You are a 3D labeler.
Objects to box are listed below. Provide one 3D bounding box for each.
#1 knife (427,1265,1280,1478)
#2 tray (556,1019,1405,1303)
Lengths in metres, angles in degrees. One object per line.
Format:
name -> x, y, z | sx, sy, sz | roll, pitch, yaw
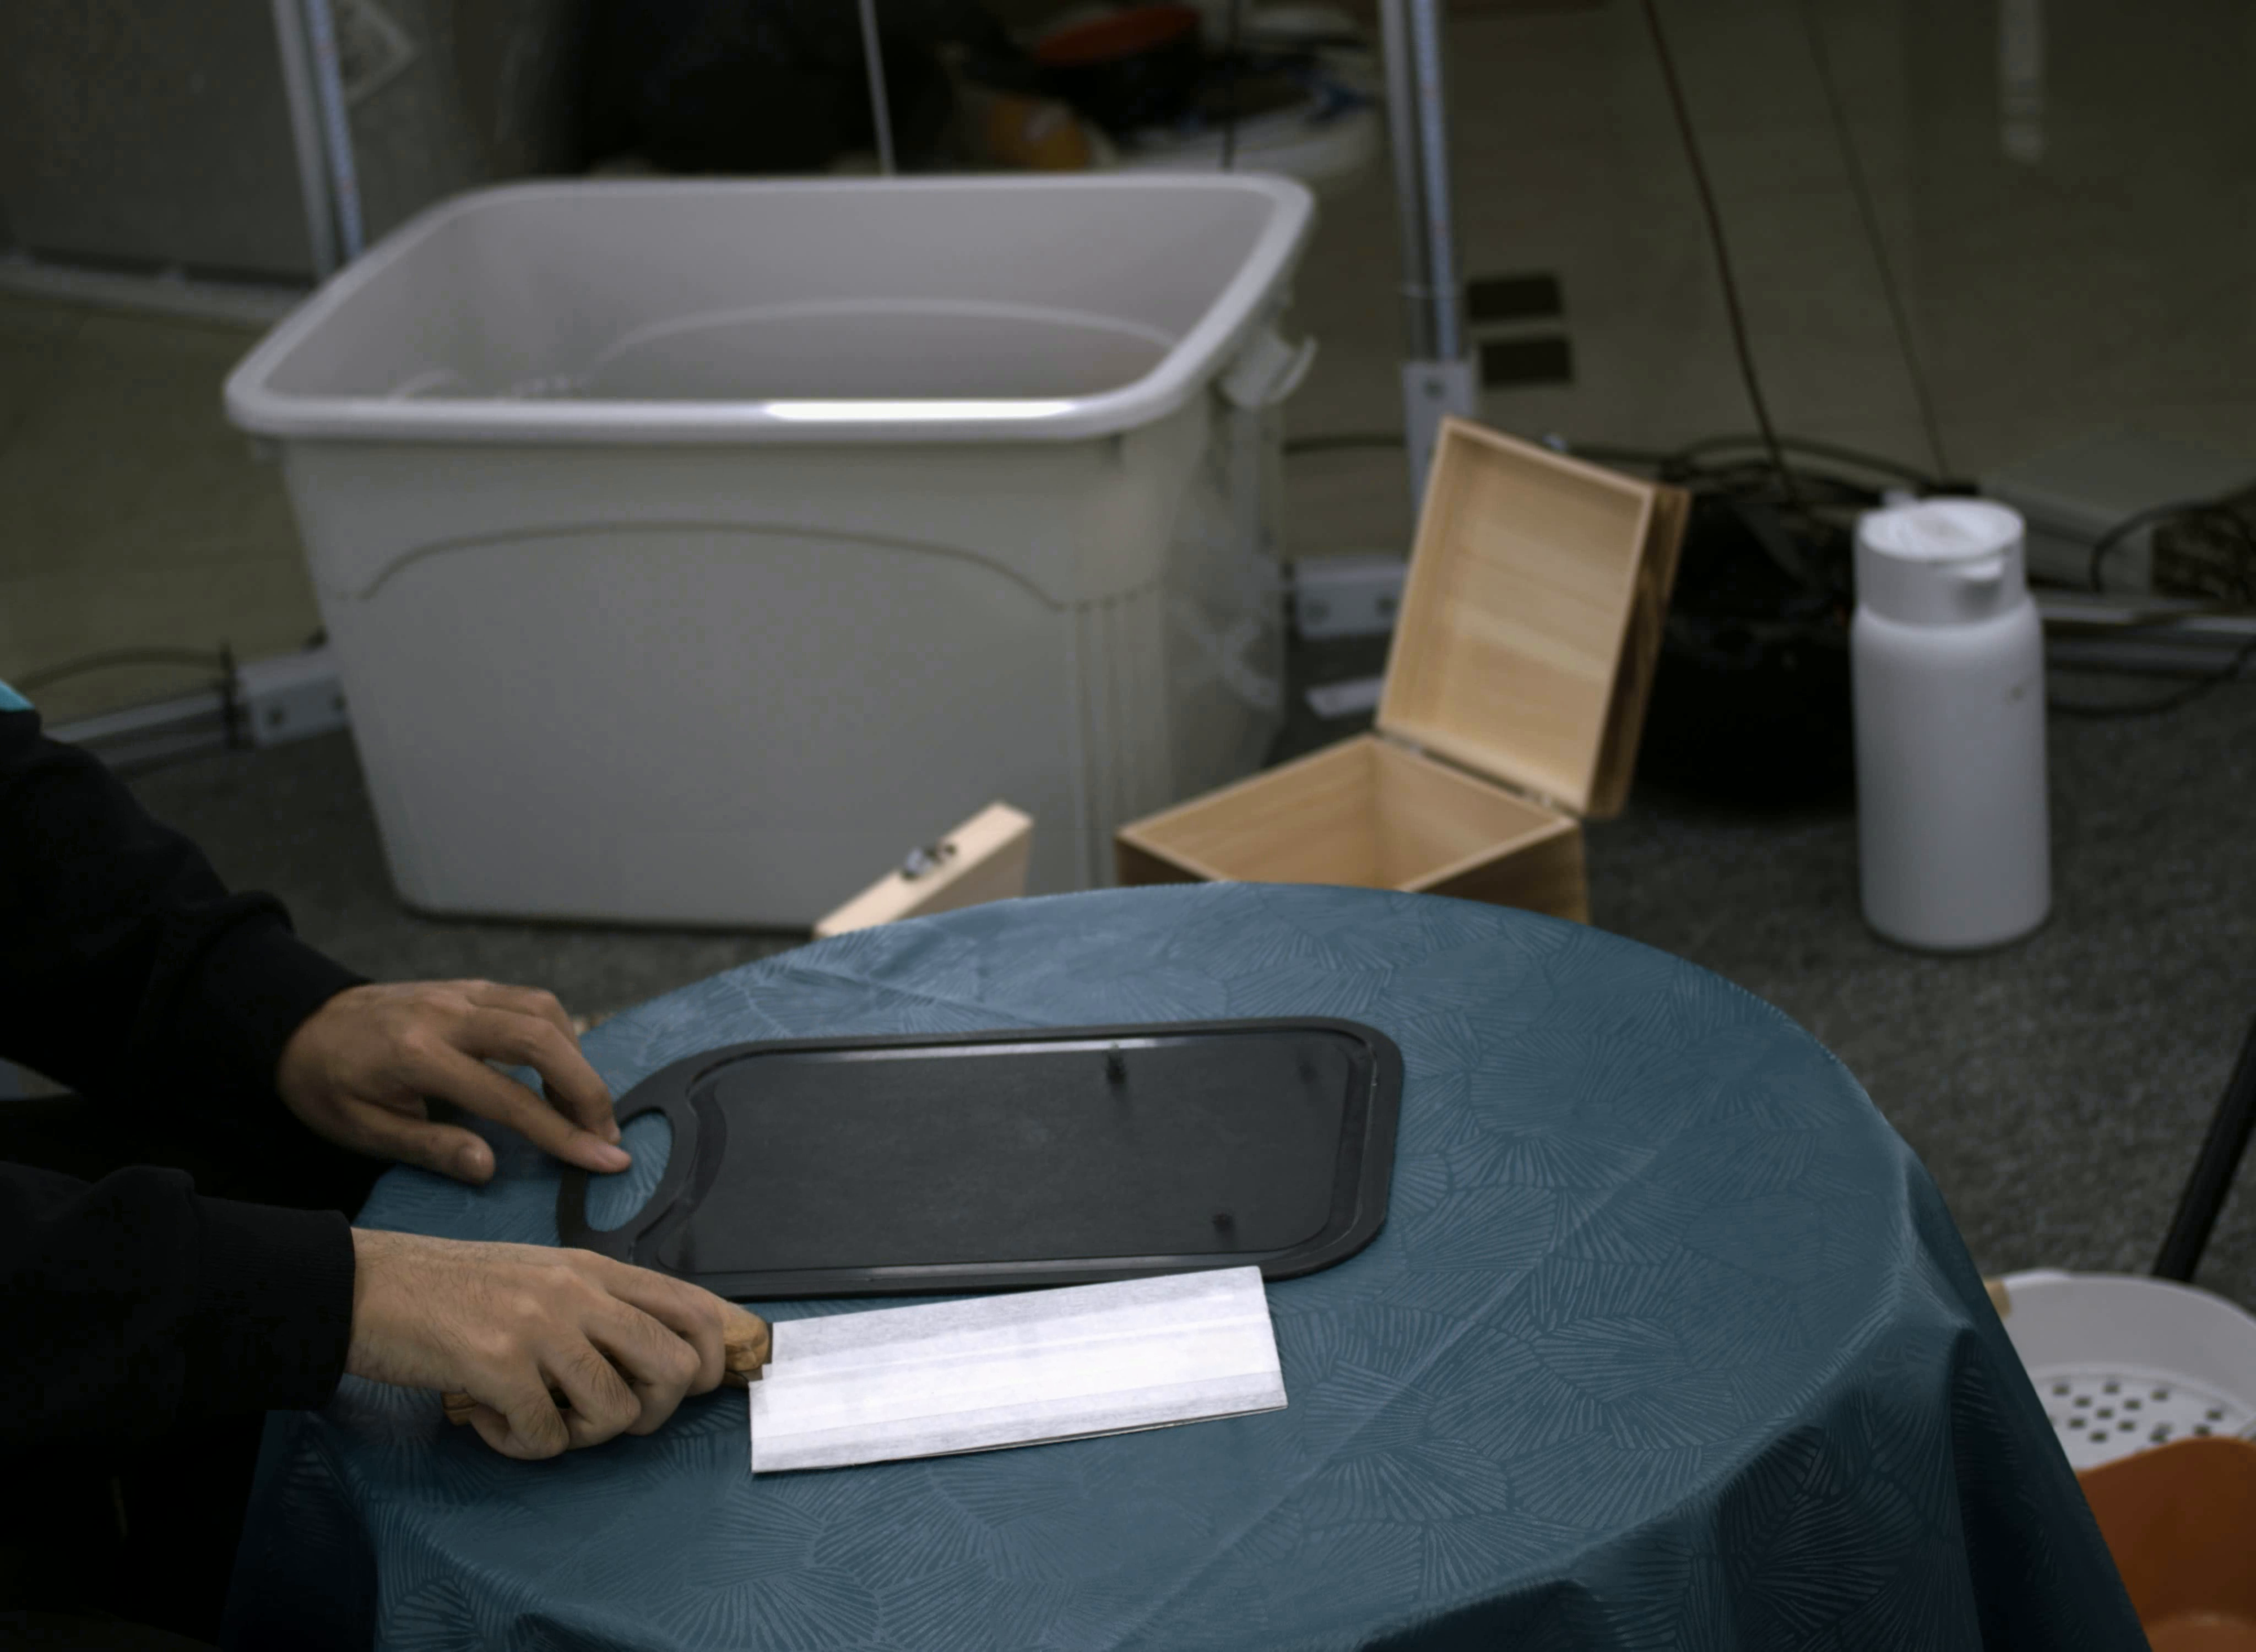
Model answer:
knife -> -0.099, 0.199, 2.026 | 0.305, 0.021, 0.091 | -7, 31, -2
tray -> -0.059, 0.126, 2.180 | 0.325, 0.010, 0.208 | -3, 25, 8
